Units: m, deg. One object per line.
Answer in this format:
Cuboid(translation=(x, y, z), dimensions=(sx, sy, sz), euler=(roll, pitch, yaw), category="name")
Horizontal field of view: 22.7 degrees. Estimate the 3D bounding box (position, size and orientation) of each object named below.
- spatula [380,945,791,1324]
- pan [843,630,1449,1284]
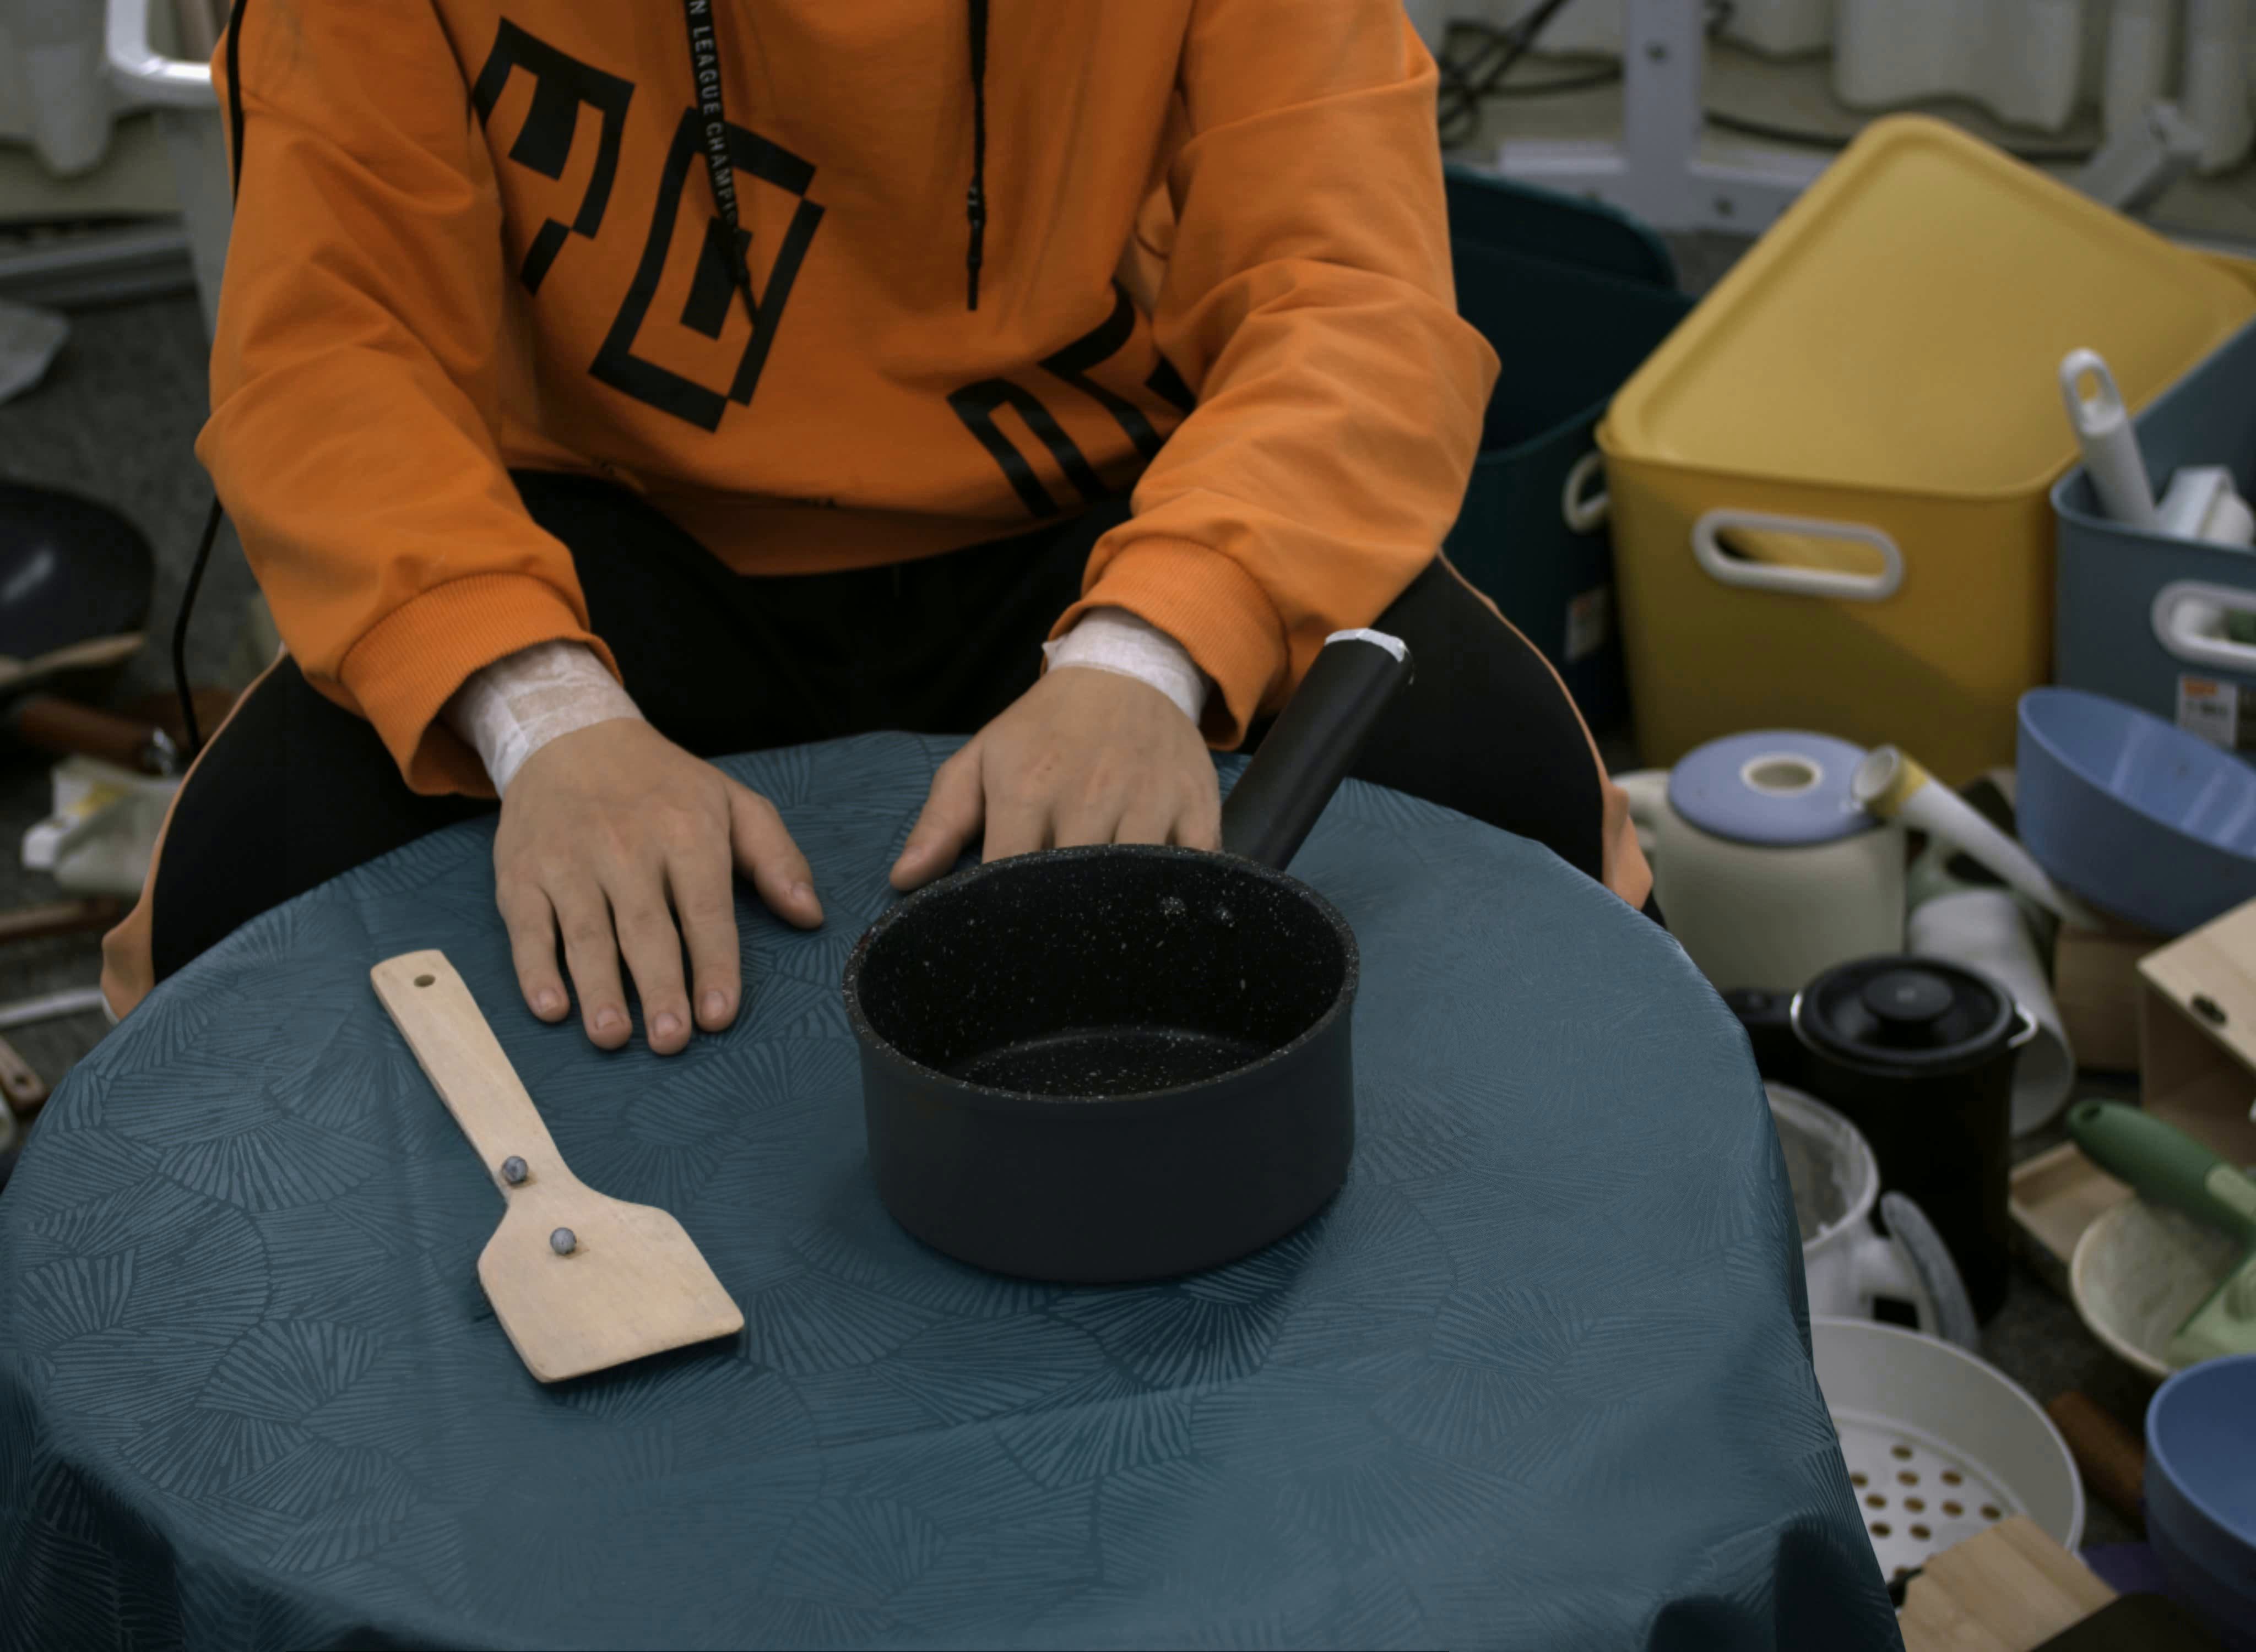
Cuboid(translation=(-0.198, 0.101, 1.892), dimensions=(0.072, 0.010, 0.294), euler=(-6, 24, -24), category="spatula")
Cuboid(translation=(0.028, 0.041, 1.925), dimensions=(0.171, 0.085, 0.334), euler=(11, 32, 24), category="pan")
